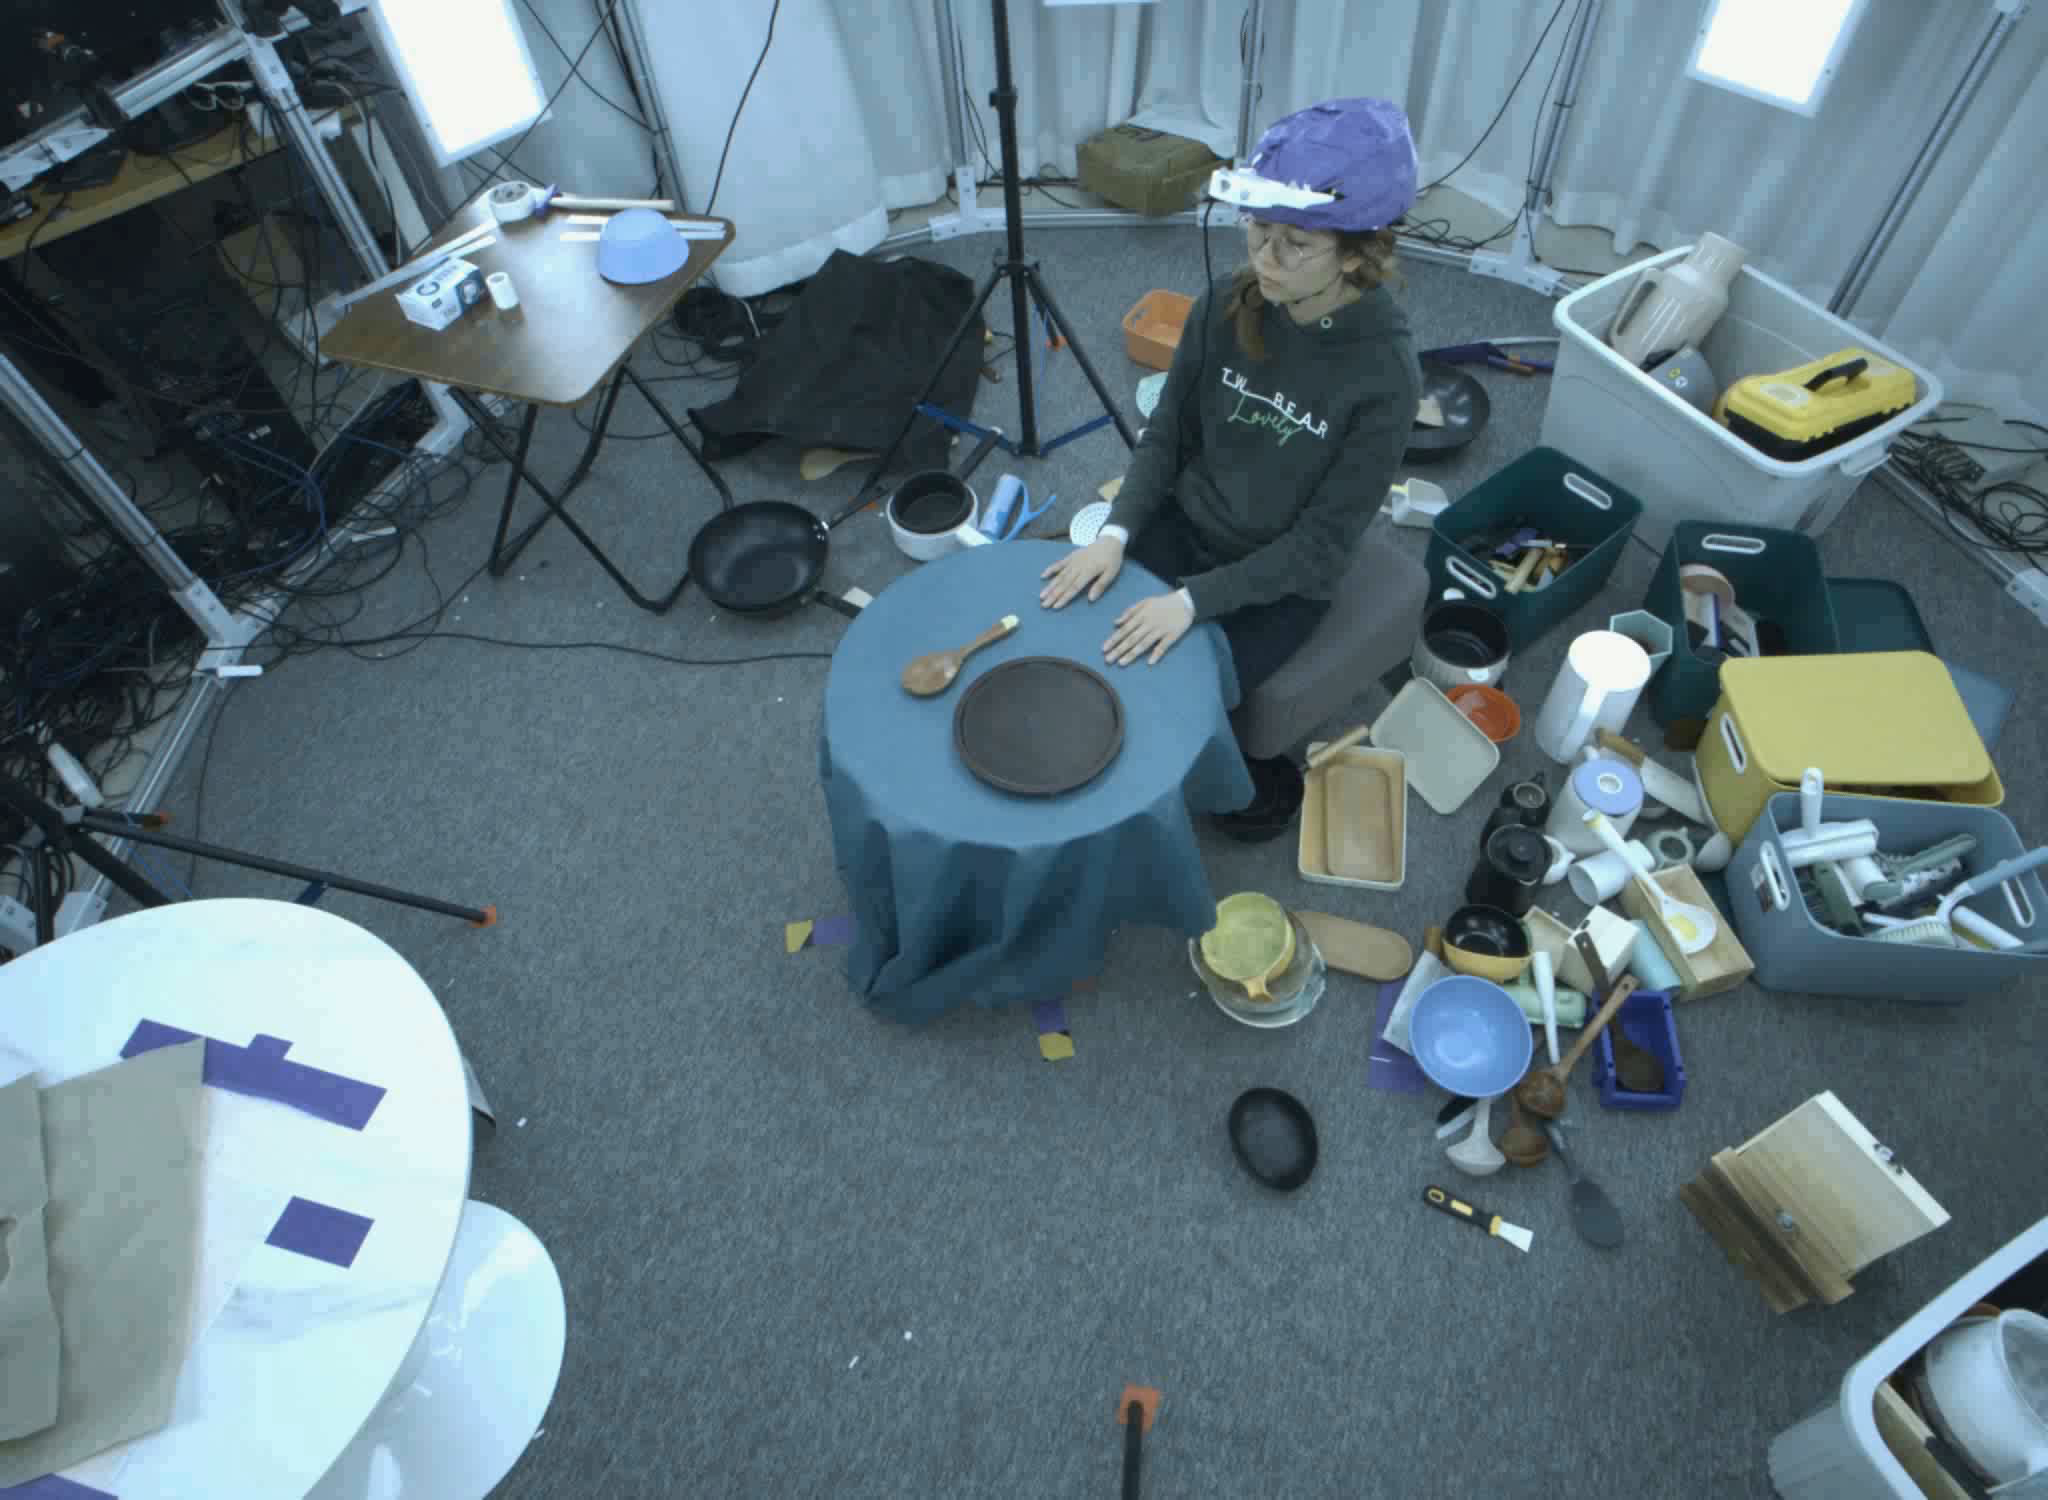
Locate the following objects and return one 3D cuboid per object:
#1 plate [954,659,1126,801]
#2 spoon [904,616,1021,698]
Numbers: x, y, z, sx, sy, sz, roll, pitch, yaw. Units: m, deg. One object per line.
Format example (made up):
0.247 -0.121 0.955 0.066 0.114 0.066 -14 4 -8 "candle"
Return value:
0.024 -0.031 1.806 0.254 0.029 0.252 -1 56 2 "plate"
-0.091 -0.144 1.891 0.217 0.017 0.074 -36 61 -21 "spoon"
